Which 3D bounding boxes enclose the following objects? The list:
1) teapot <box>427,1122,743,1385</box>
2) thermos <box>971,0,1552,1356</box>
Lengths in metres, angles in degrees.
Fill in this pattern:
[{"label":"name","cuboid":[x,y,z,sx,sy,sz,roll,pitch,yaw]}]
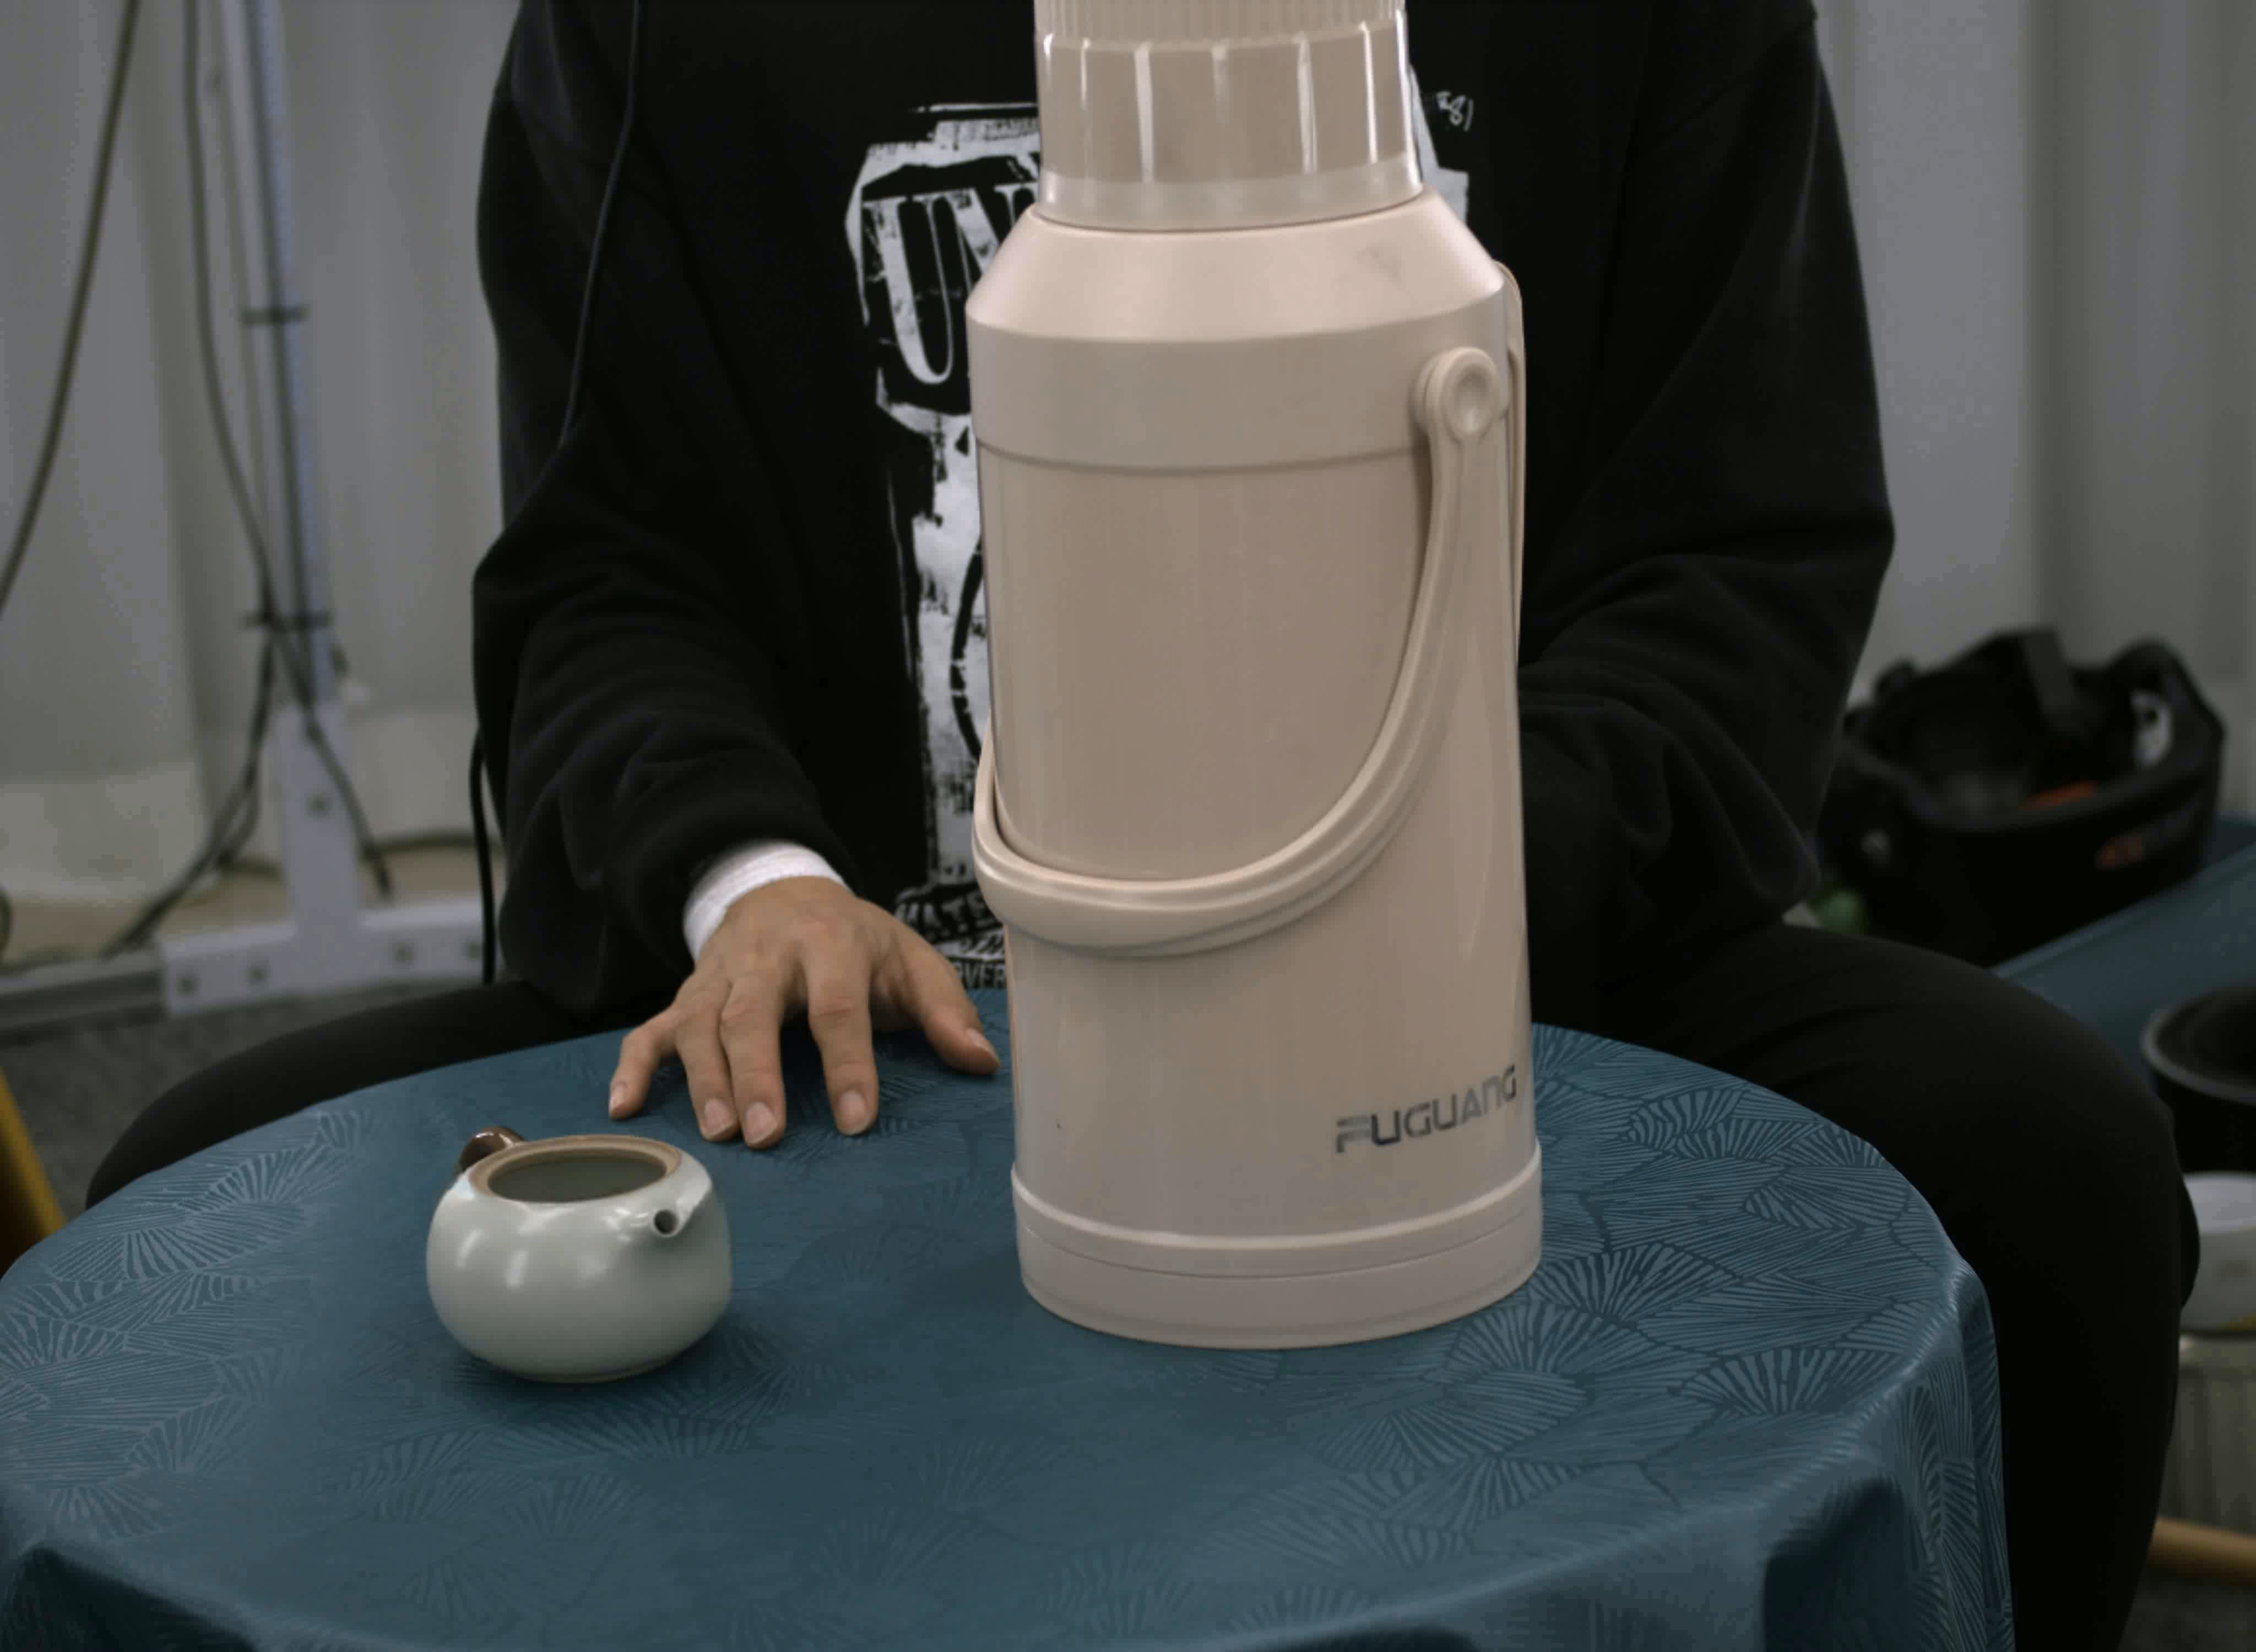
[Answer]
[{"label":"teapot","cuboid":[-0.164,0.124,1.599,0.091,0.059,0.129,-17,21,-33]},{"label":"thermos","cuboid":[0.048,-0.063,1.608,0.176,0.405,0.207,8,18,42]}]
